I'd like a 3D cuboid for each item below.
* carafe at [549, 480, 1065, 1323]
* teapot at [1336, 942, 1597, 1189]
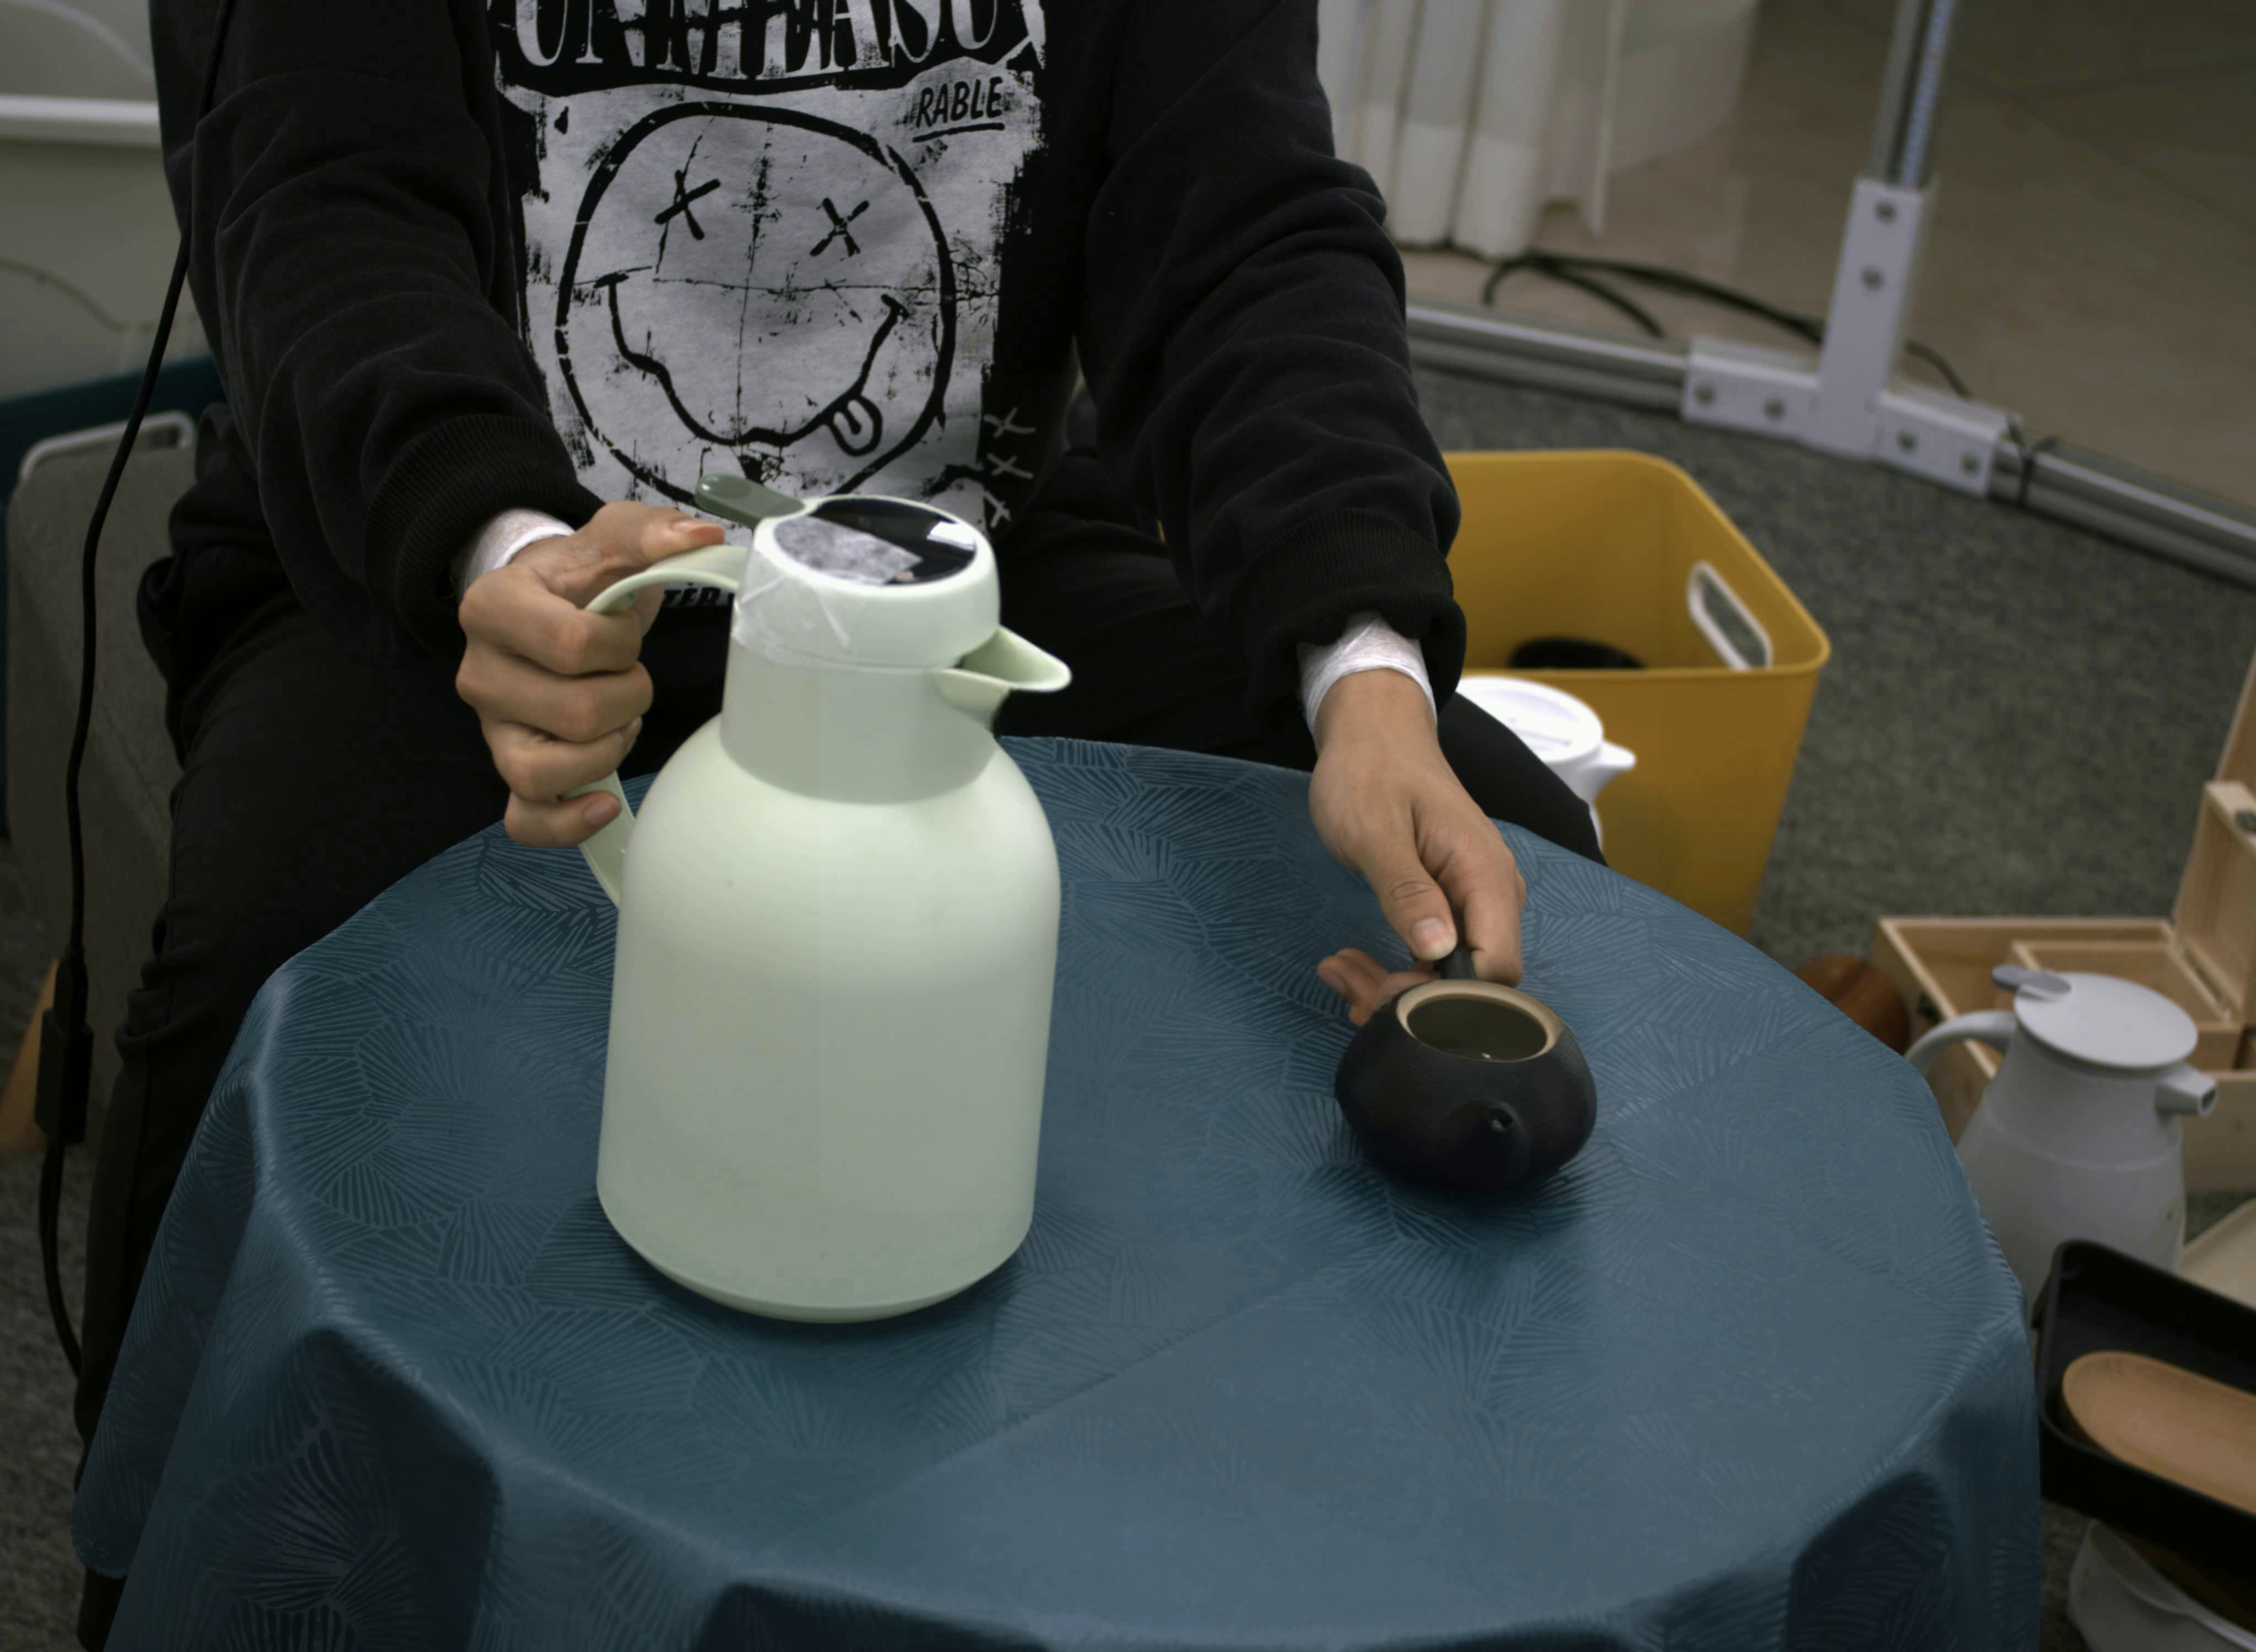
[{"bbox_3d":[-0.104,0.018,1.715,0.187,0.256,0.144,17,29,27],"label":"carafe"},{"bbox_3d":[0.118,0.089,1.840,0.090,0.053,0.134,5,28,-7],"label":"teapot"}]
